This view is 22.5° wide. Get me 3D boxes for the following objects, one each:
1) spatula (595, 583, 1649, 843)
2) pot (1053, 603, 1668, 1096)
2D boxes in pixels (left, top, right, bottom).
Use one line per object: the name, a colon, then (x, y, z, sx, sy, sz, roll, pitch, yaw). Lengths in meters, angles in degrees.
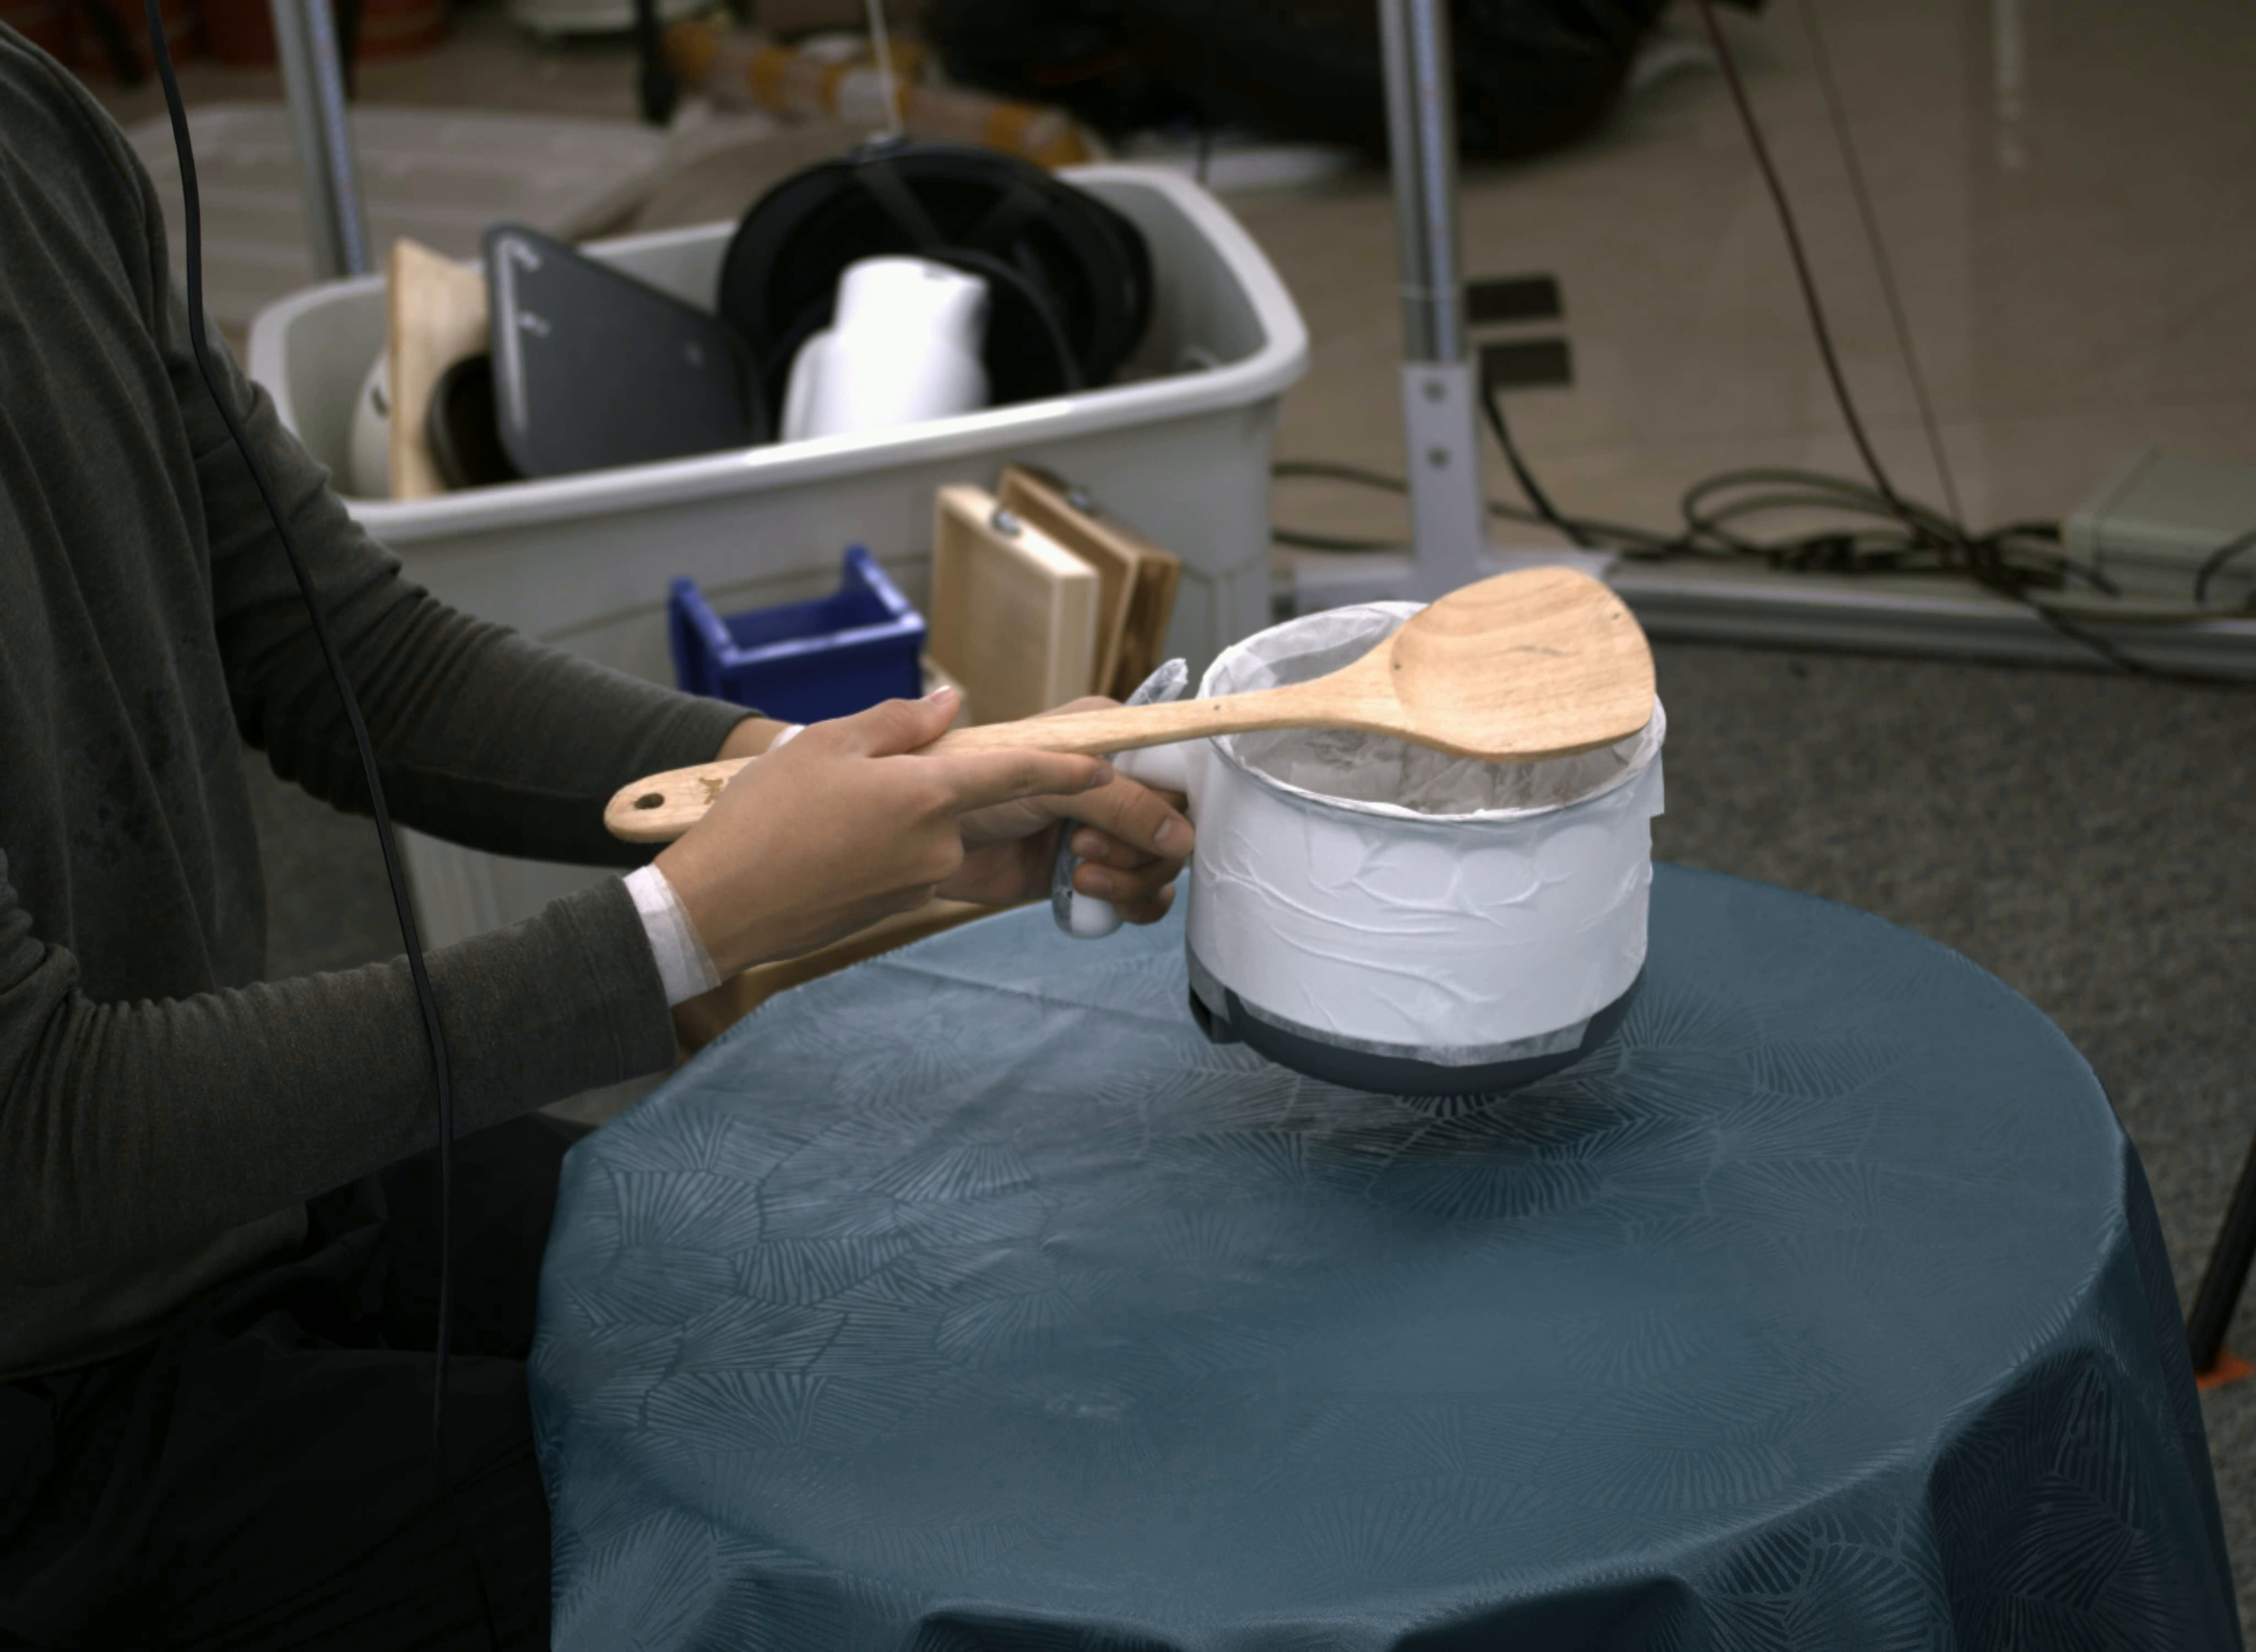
spatula: (-0.001, -0.031, 2.070, 0.390, 0.019, 0.094, -8, 45, -9)
pot: (0.086, 0.007, 2.163, 0.233, 0.139, 0.176, 8, 29, 11)
